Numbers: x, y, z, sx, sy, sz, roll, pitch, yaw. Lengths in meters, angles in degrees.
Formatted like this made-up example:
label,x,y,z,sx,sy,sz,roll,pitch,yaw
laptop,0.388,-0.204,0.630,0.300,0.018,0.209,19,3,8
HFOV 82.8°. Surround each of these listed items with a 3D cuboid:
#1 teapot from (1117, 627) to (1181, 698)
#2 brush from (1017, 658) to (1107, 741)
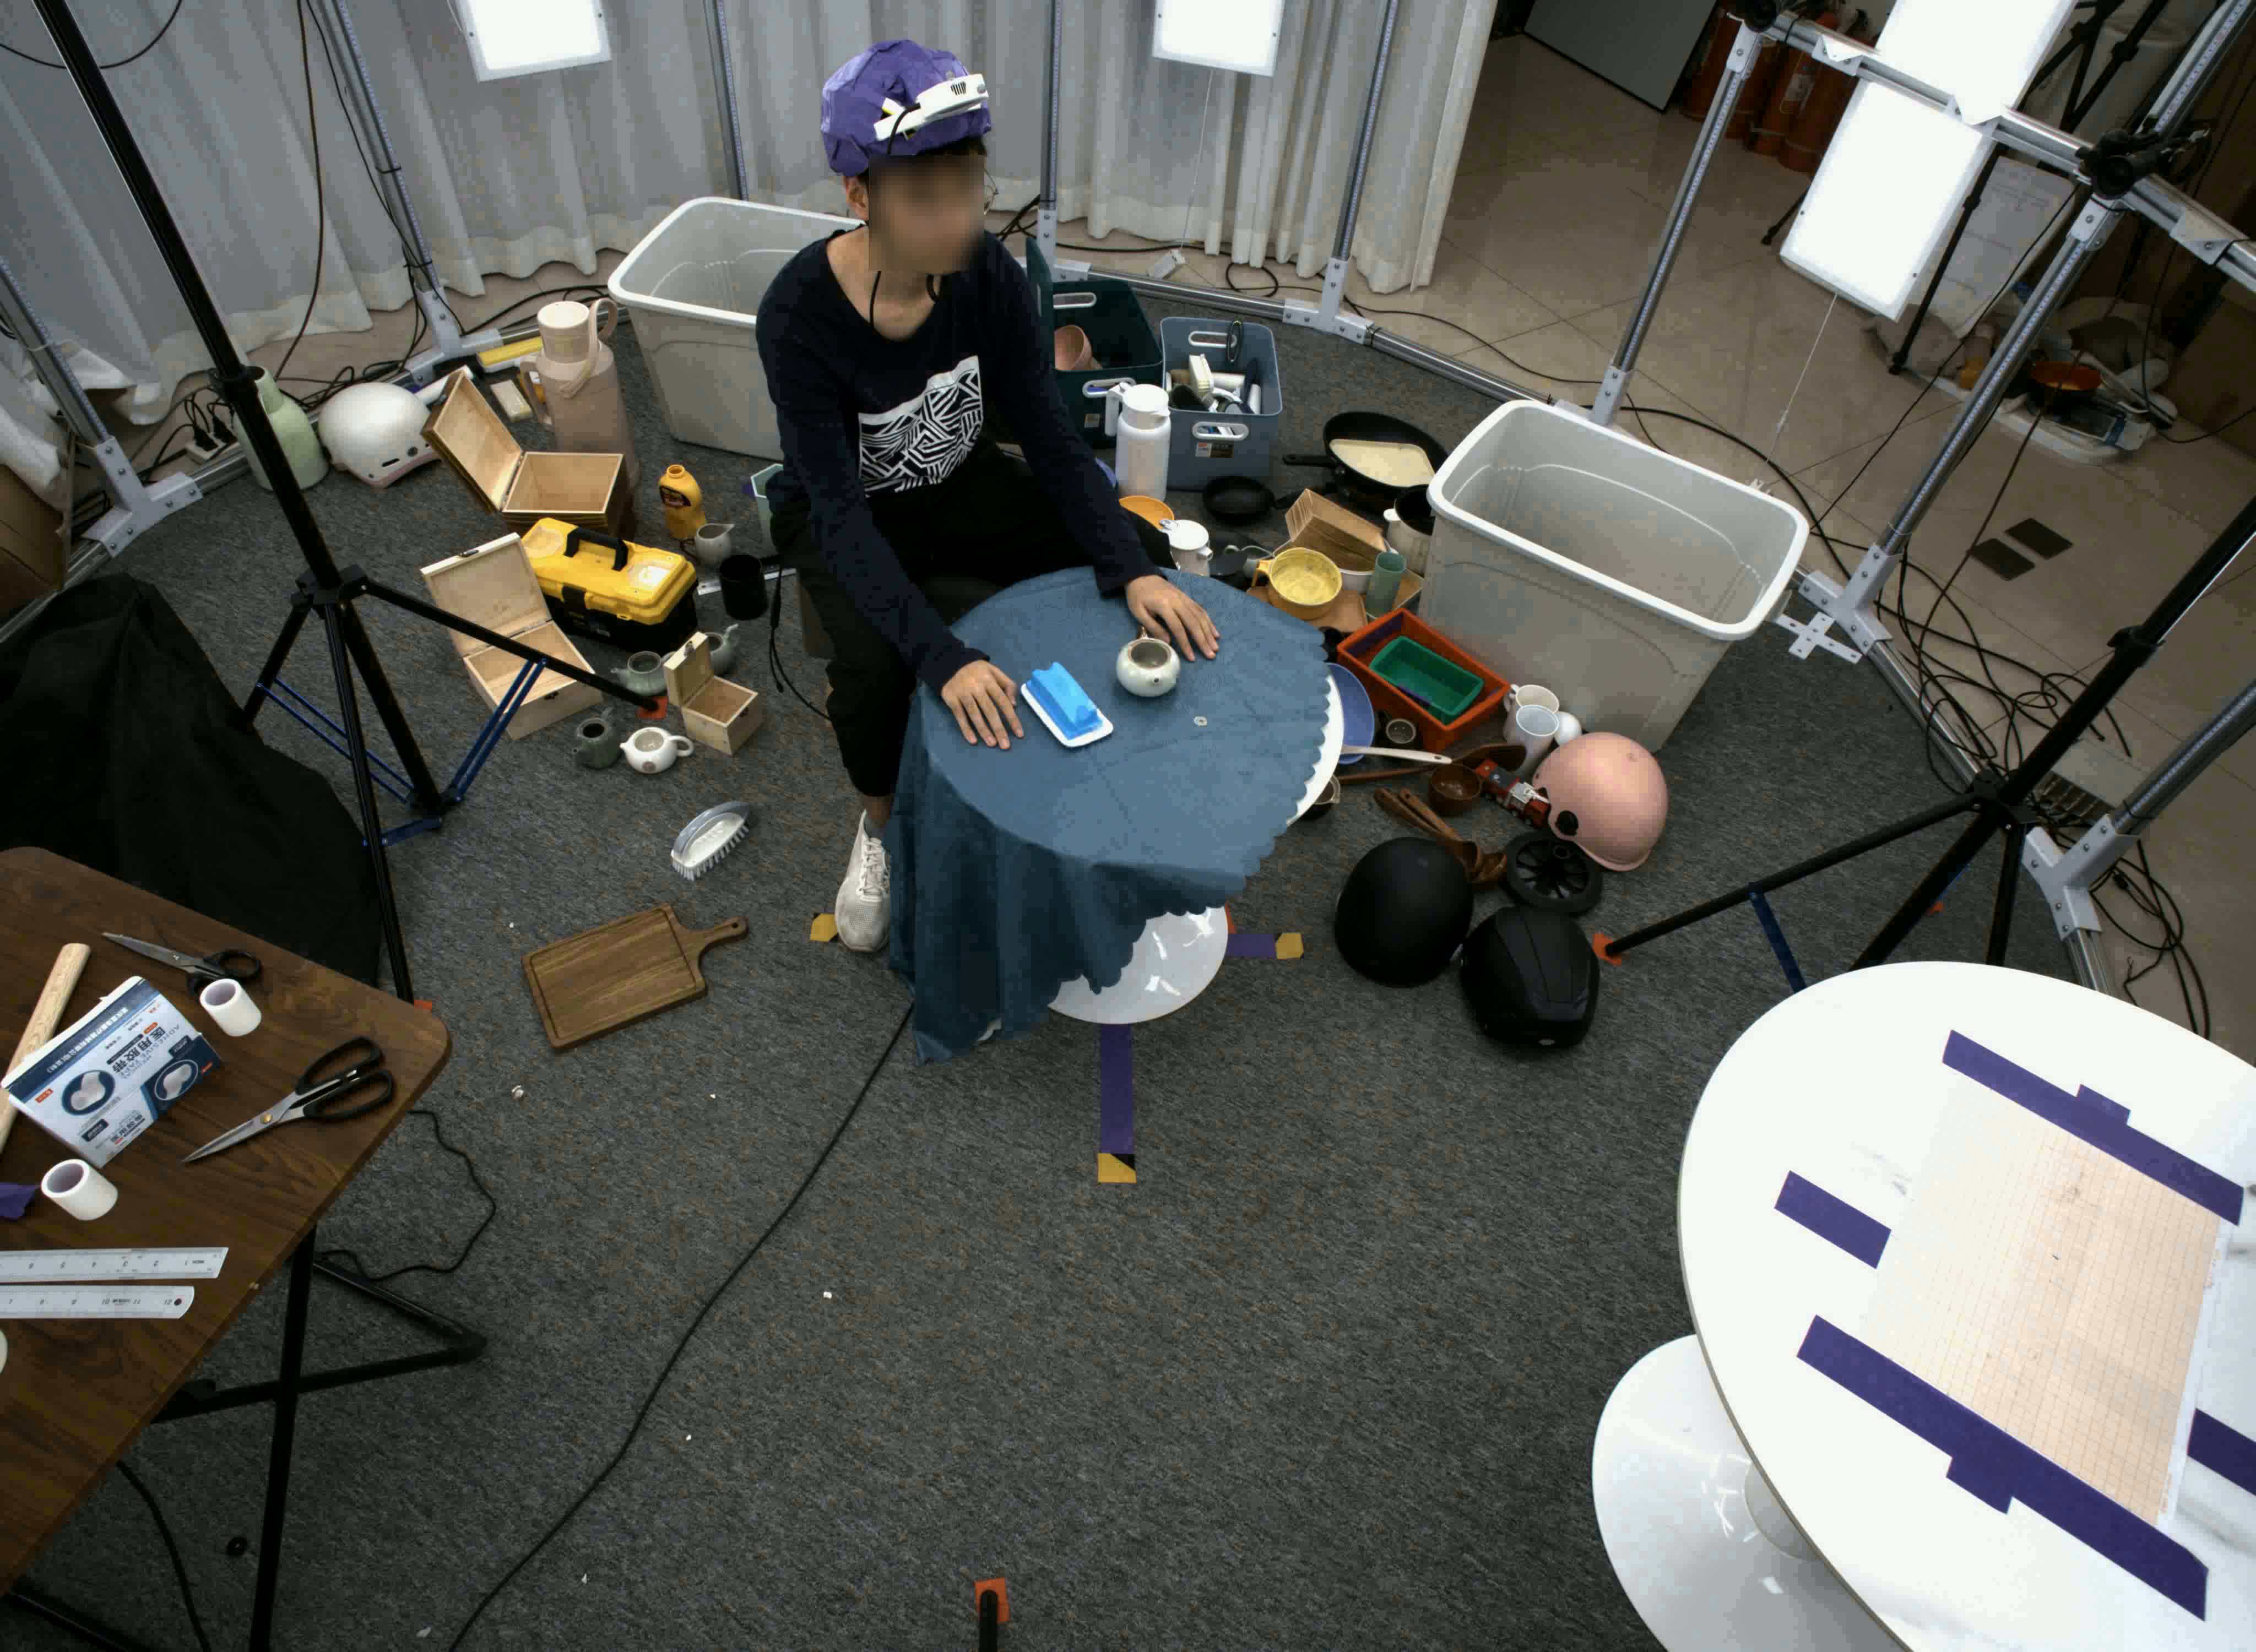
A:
label,x,y,z,sx,sy,sz,roll,pitch,yaw
teapot,0.028,-0.232,1.833,0.092,0.058,0.131,-9,51,-9
brush,-0.090,-0.182,1.780,0.084,0.054,0.147,-19,55,-24
